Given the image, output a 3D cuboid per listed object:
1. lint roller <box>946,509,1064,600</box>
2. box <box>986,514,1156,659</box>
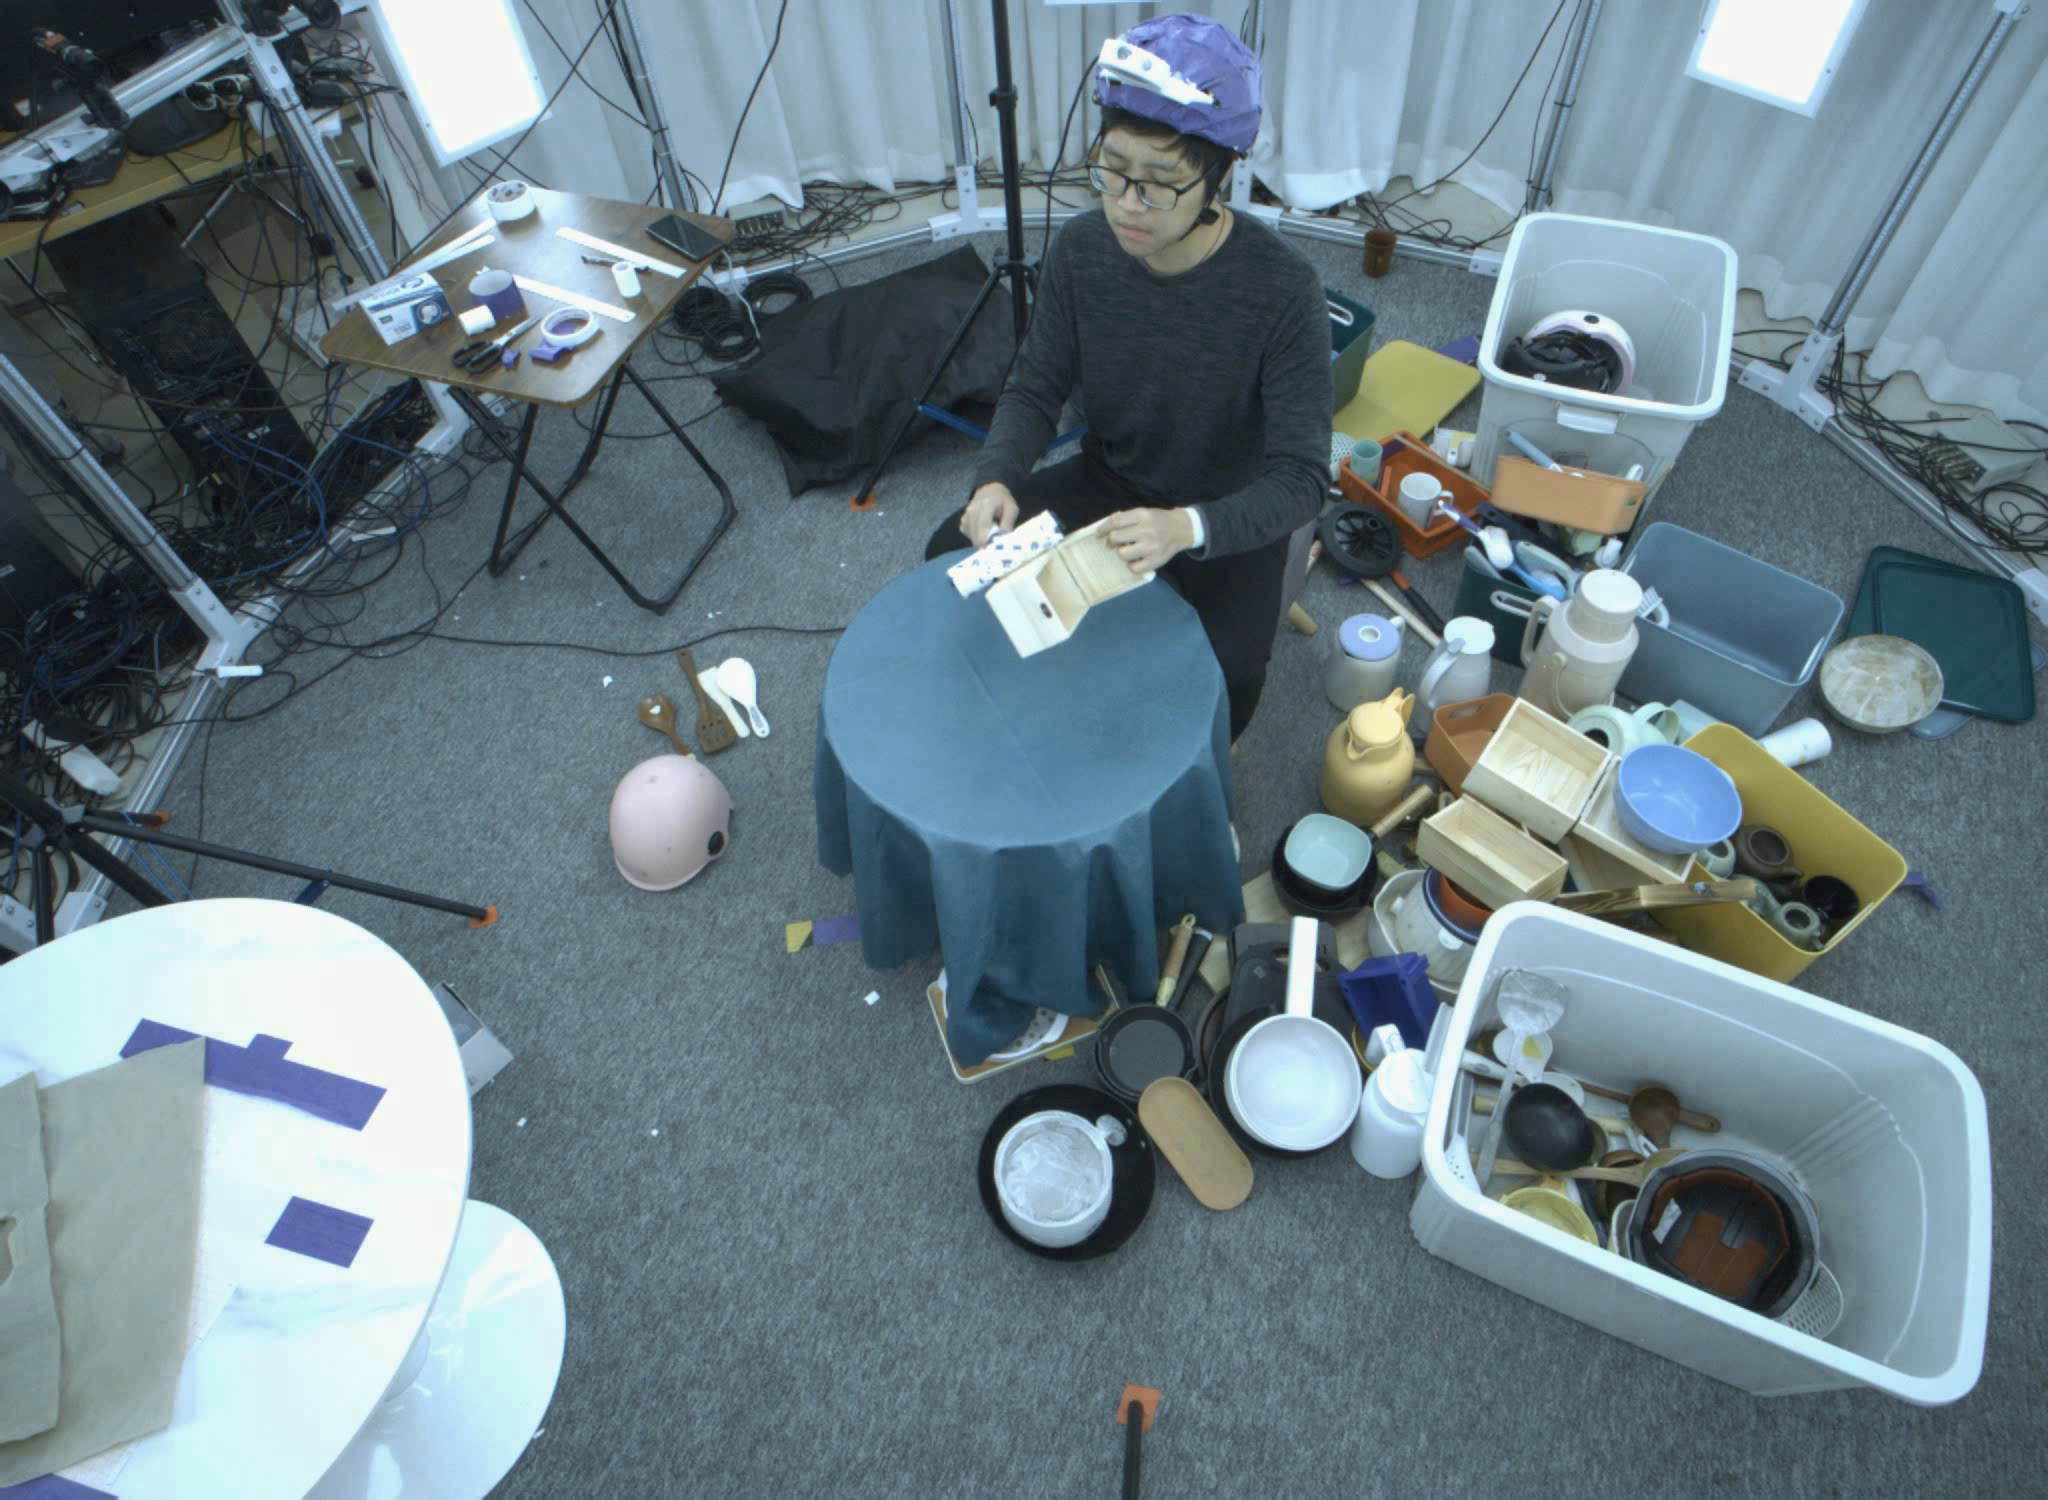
[{"bbox_3d":[-0.043,-0.304,1.765,0.176,0.051,0.243,-32,25,3],"label":"lint roller"},{"bbox_3d":[0.064,-0.220,1.655,0.182,0.104,0.134,-20,23,30],"label":"box"}]
